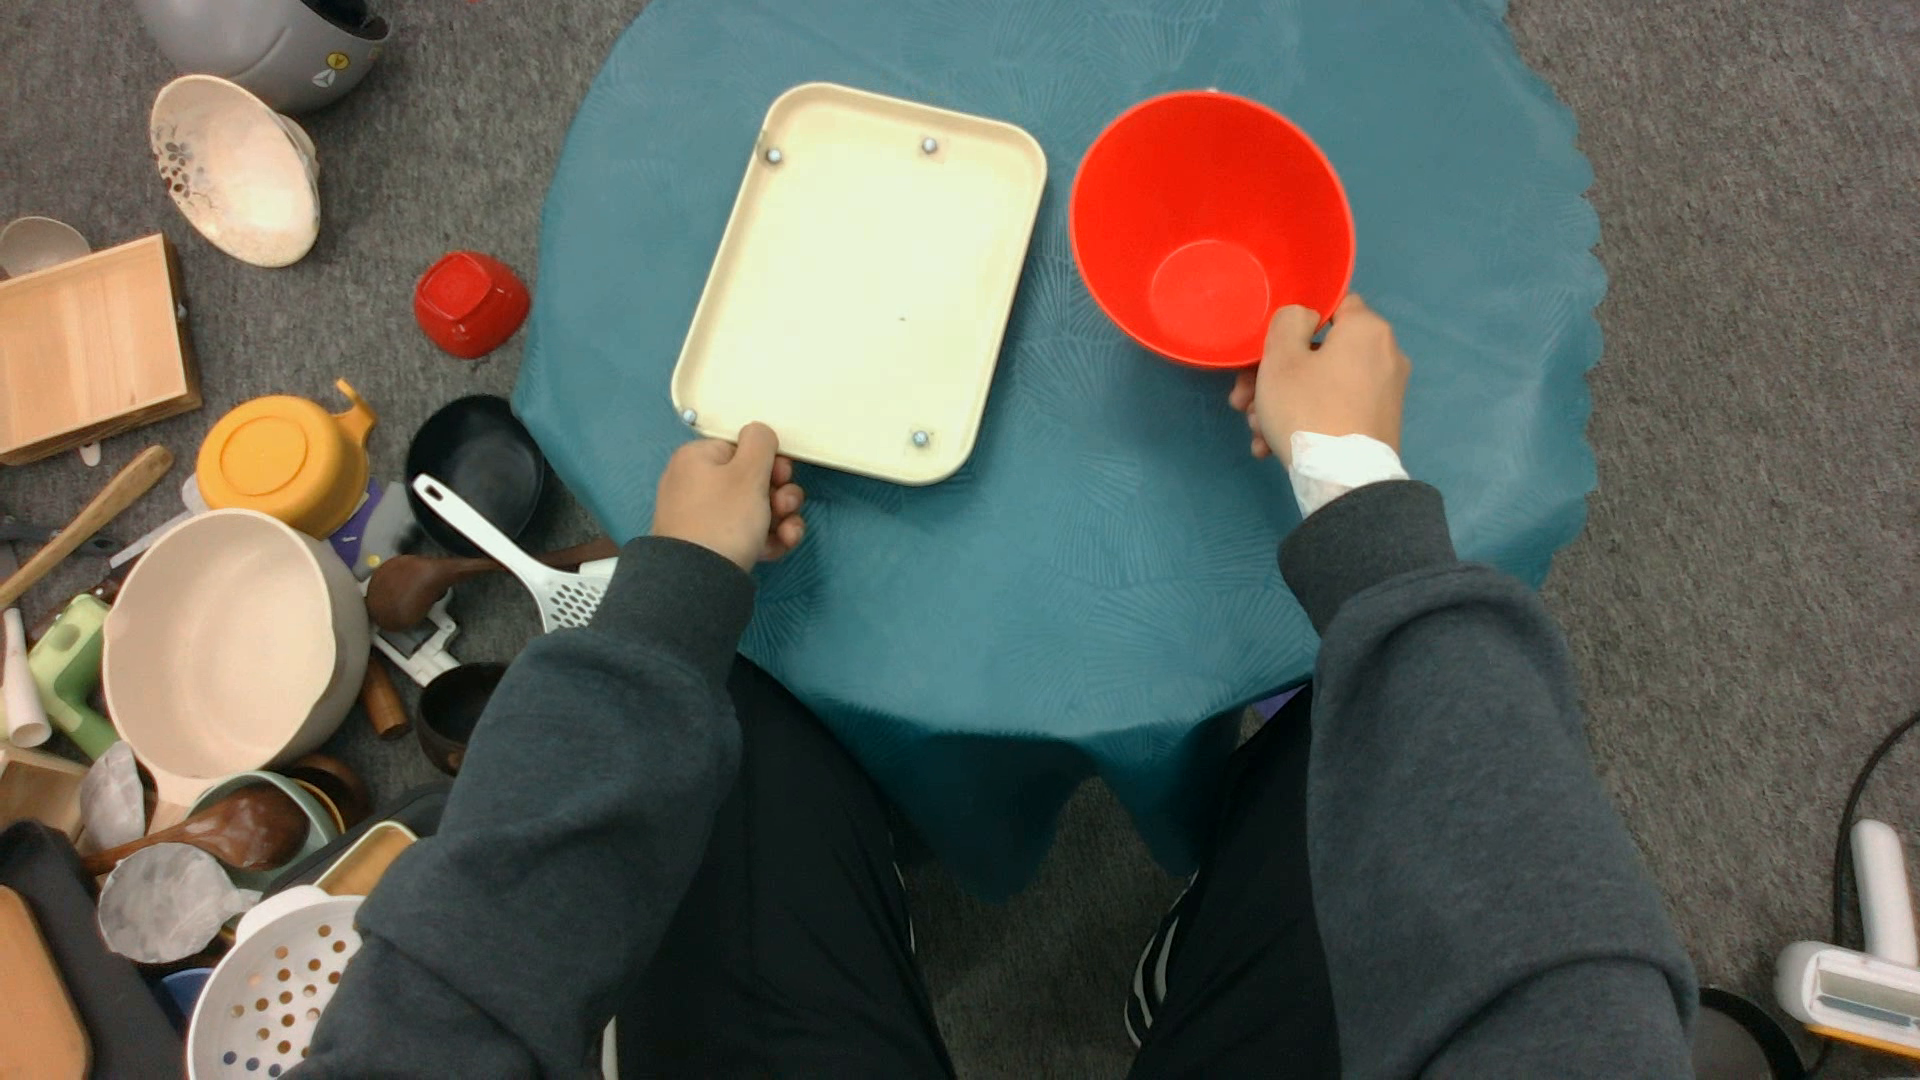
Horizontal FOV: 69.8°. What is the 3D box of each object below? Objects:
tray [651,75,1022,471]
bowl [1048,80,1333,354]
[{"bbox_3d":[-0.066,-0.156,0.784,0.171,0.017,0.240,13,68,2],"label":"tray"},{"bbox_3d":[0.120,-0.159,0.741,0.148,0.104,0.148,0,76,2],"label":"bowl"}]
